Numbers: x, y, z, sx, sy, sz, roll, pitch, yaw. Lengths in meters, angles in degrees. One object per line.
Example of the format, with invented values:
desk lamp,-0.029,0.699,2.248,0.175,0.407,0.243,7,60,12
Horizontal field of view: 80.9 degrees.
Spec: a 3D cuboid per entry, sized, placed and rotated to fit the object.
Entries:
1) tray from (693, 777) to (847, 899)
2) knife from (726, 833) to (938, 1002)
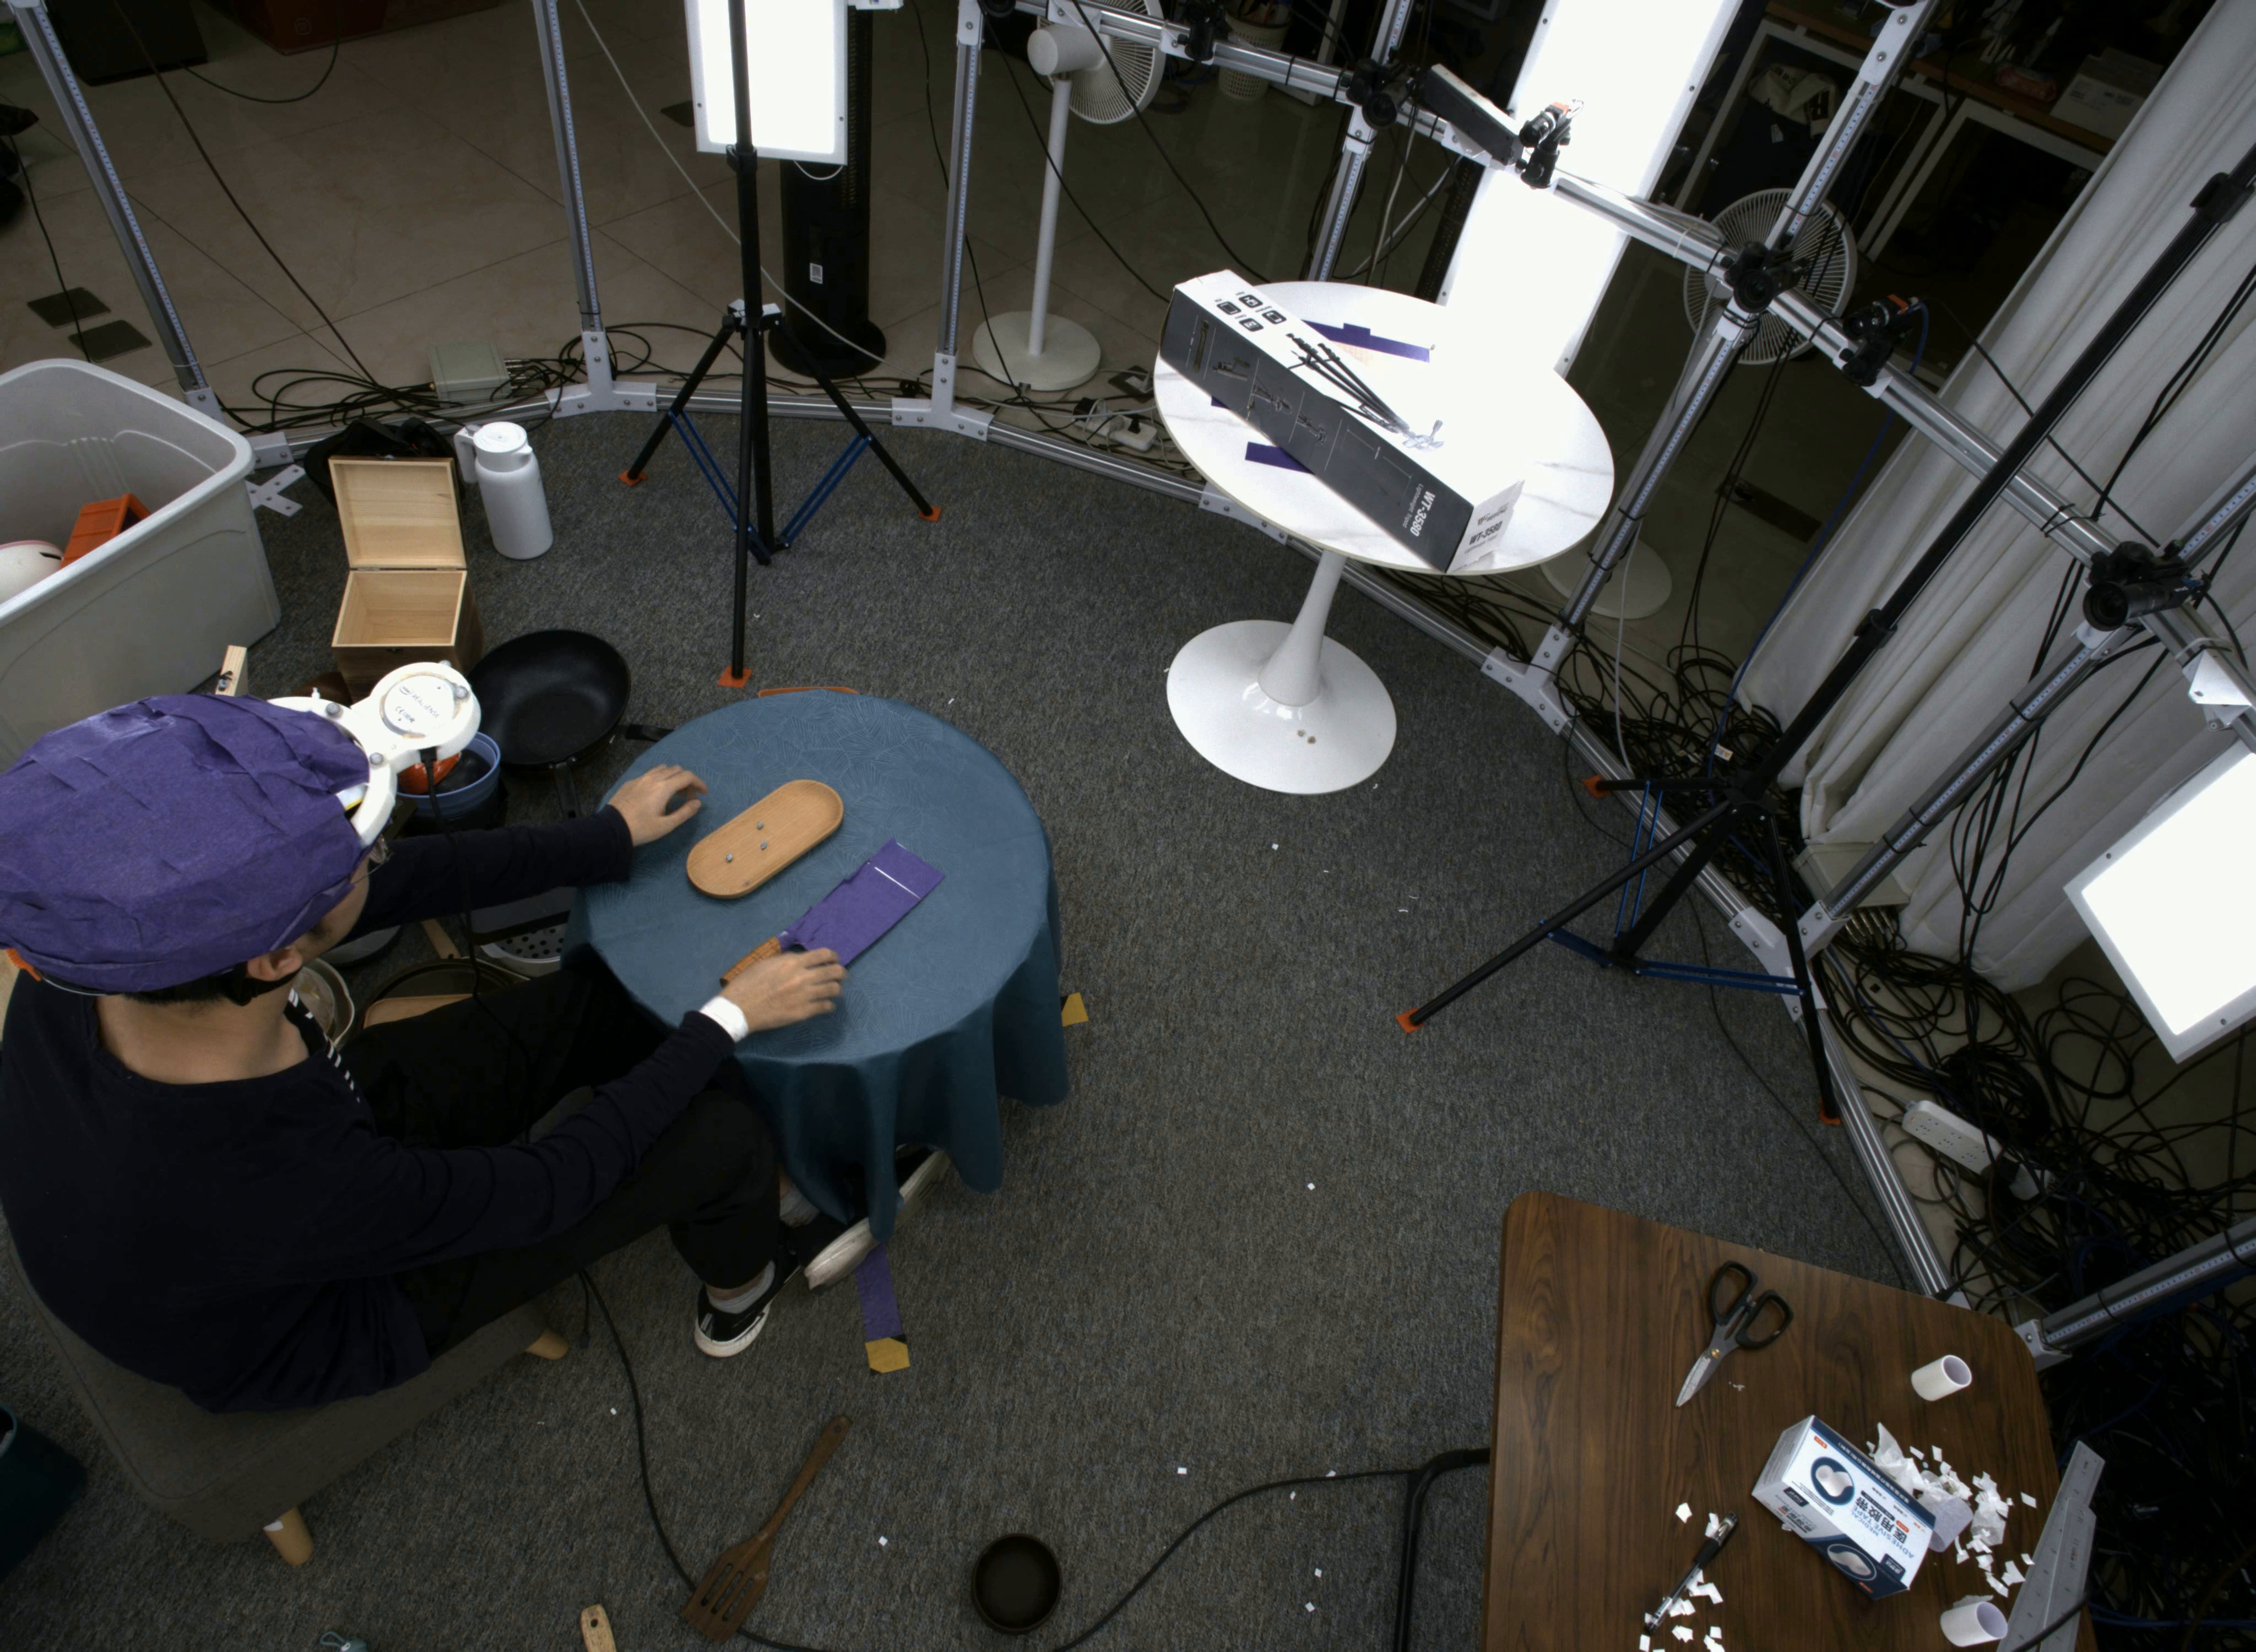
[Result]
tray,-0.469,0.013,1.703,0.100,0.021,0.231,38,53,14
knife,-0.364,0.123,1.642,0.102,0.033,0.315,34,53,12
